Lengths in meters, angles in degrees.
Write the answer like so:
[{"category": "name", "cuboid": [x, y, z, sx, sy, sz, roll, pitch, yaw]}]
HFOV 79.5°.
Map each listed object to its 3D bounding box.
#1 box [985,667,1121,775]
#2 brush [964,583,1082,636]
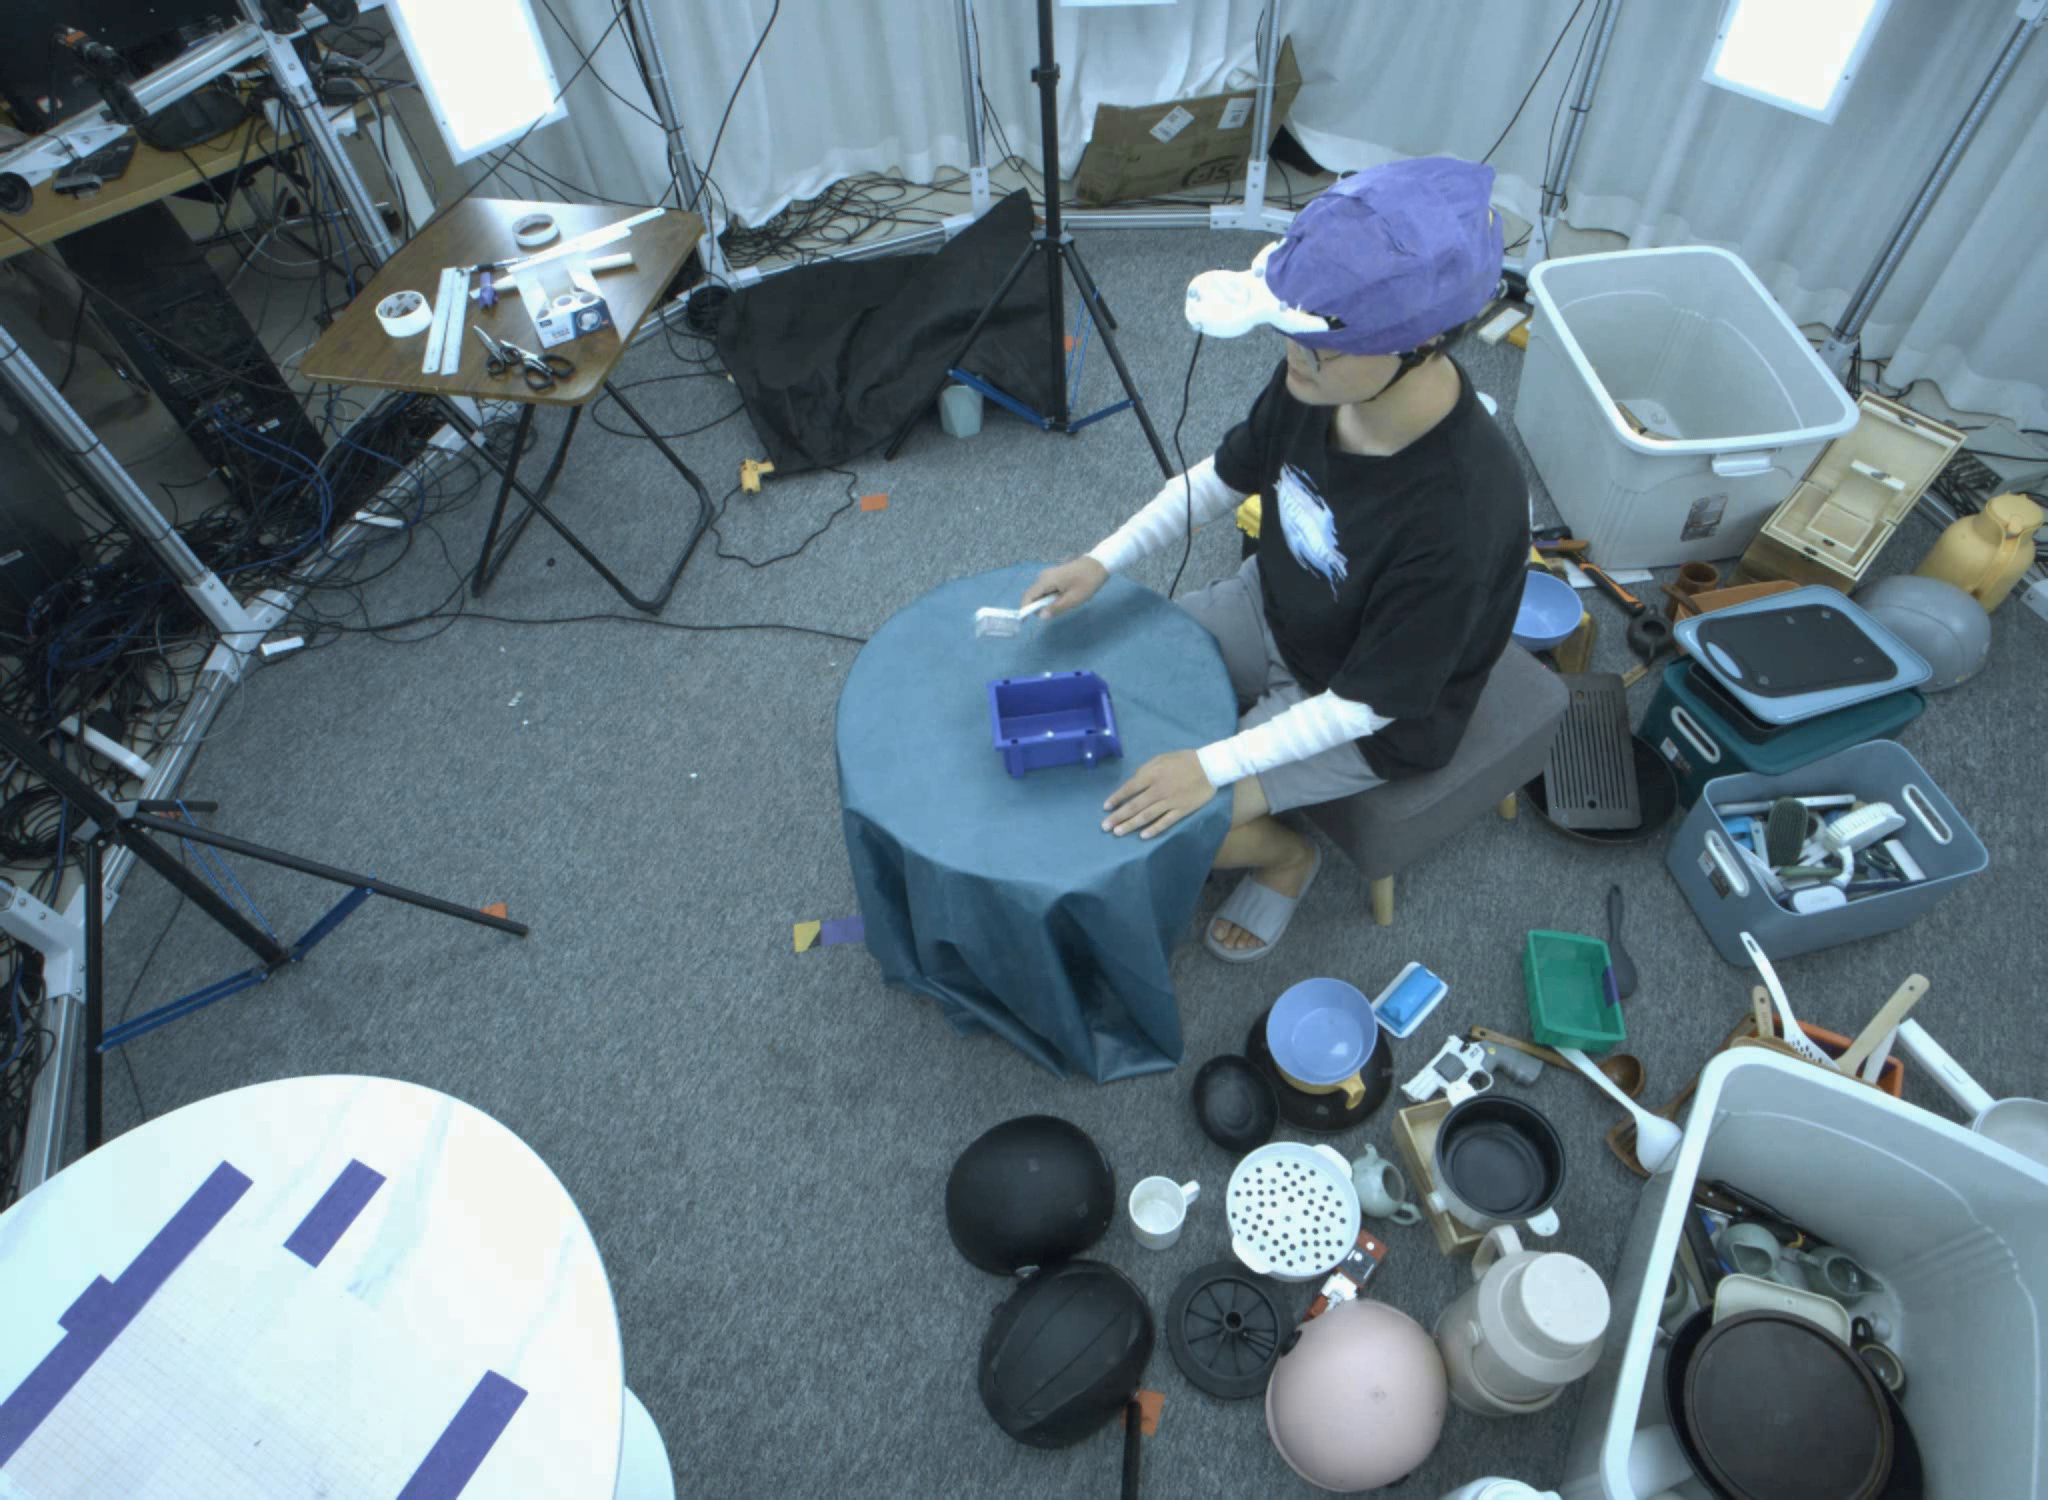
[{"category": "box", "cuboid": [0.041, -0.044, 1.758, 0.179, 0.083, 0.123, -7, 54, -1]}, {"category": "brush", "cuboid": [0.007, -0.210, 1.844, 0.248, 0.034, 0.050, -19, 81, -41]}]
